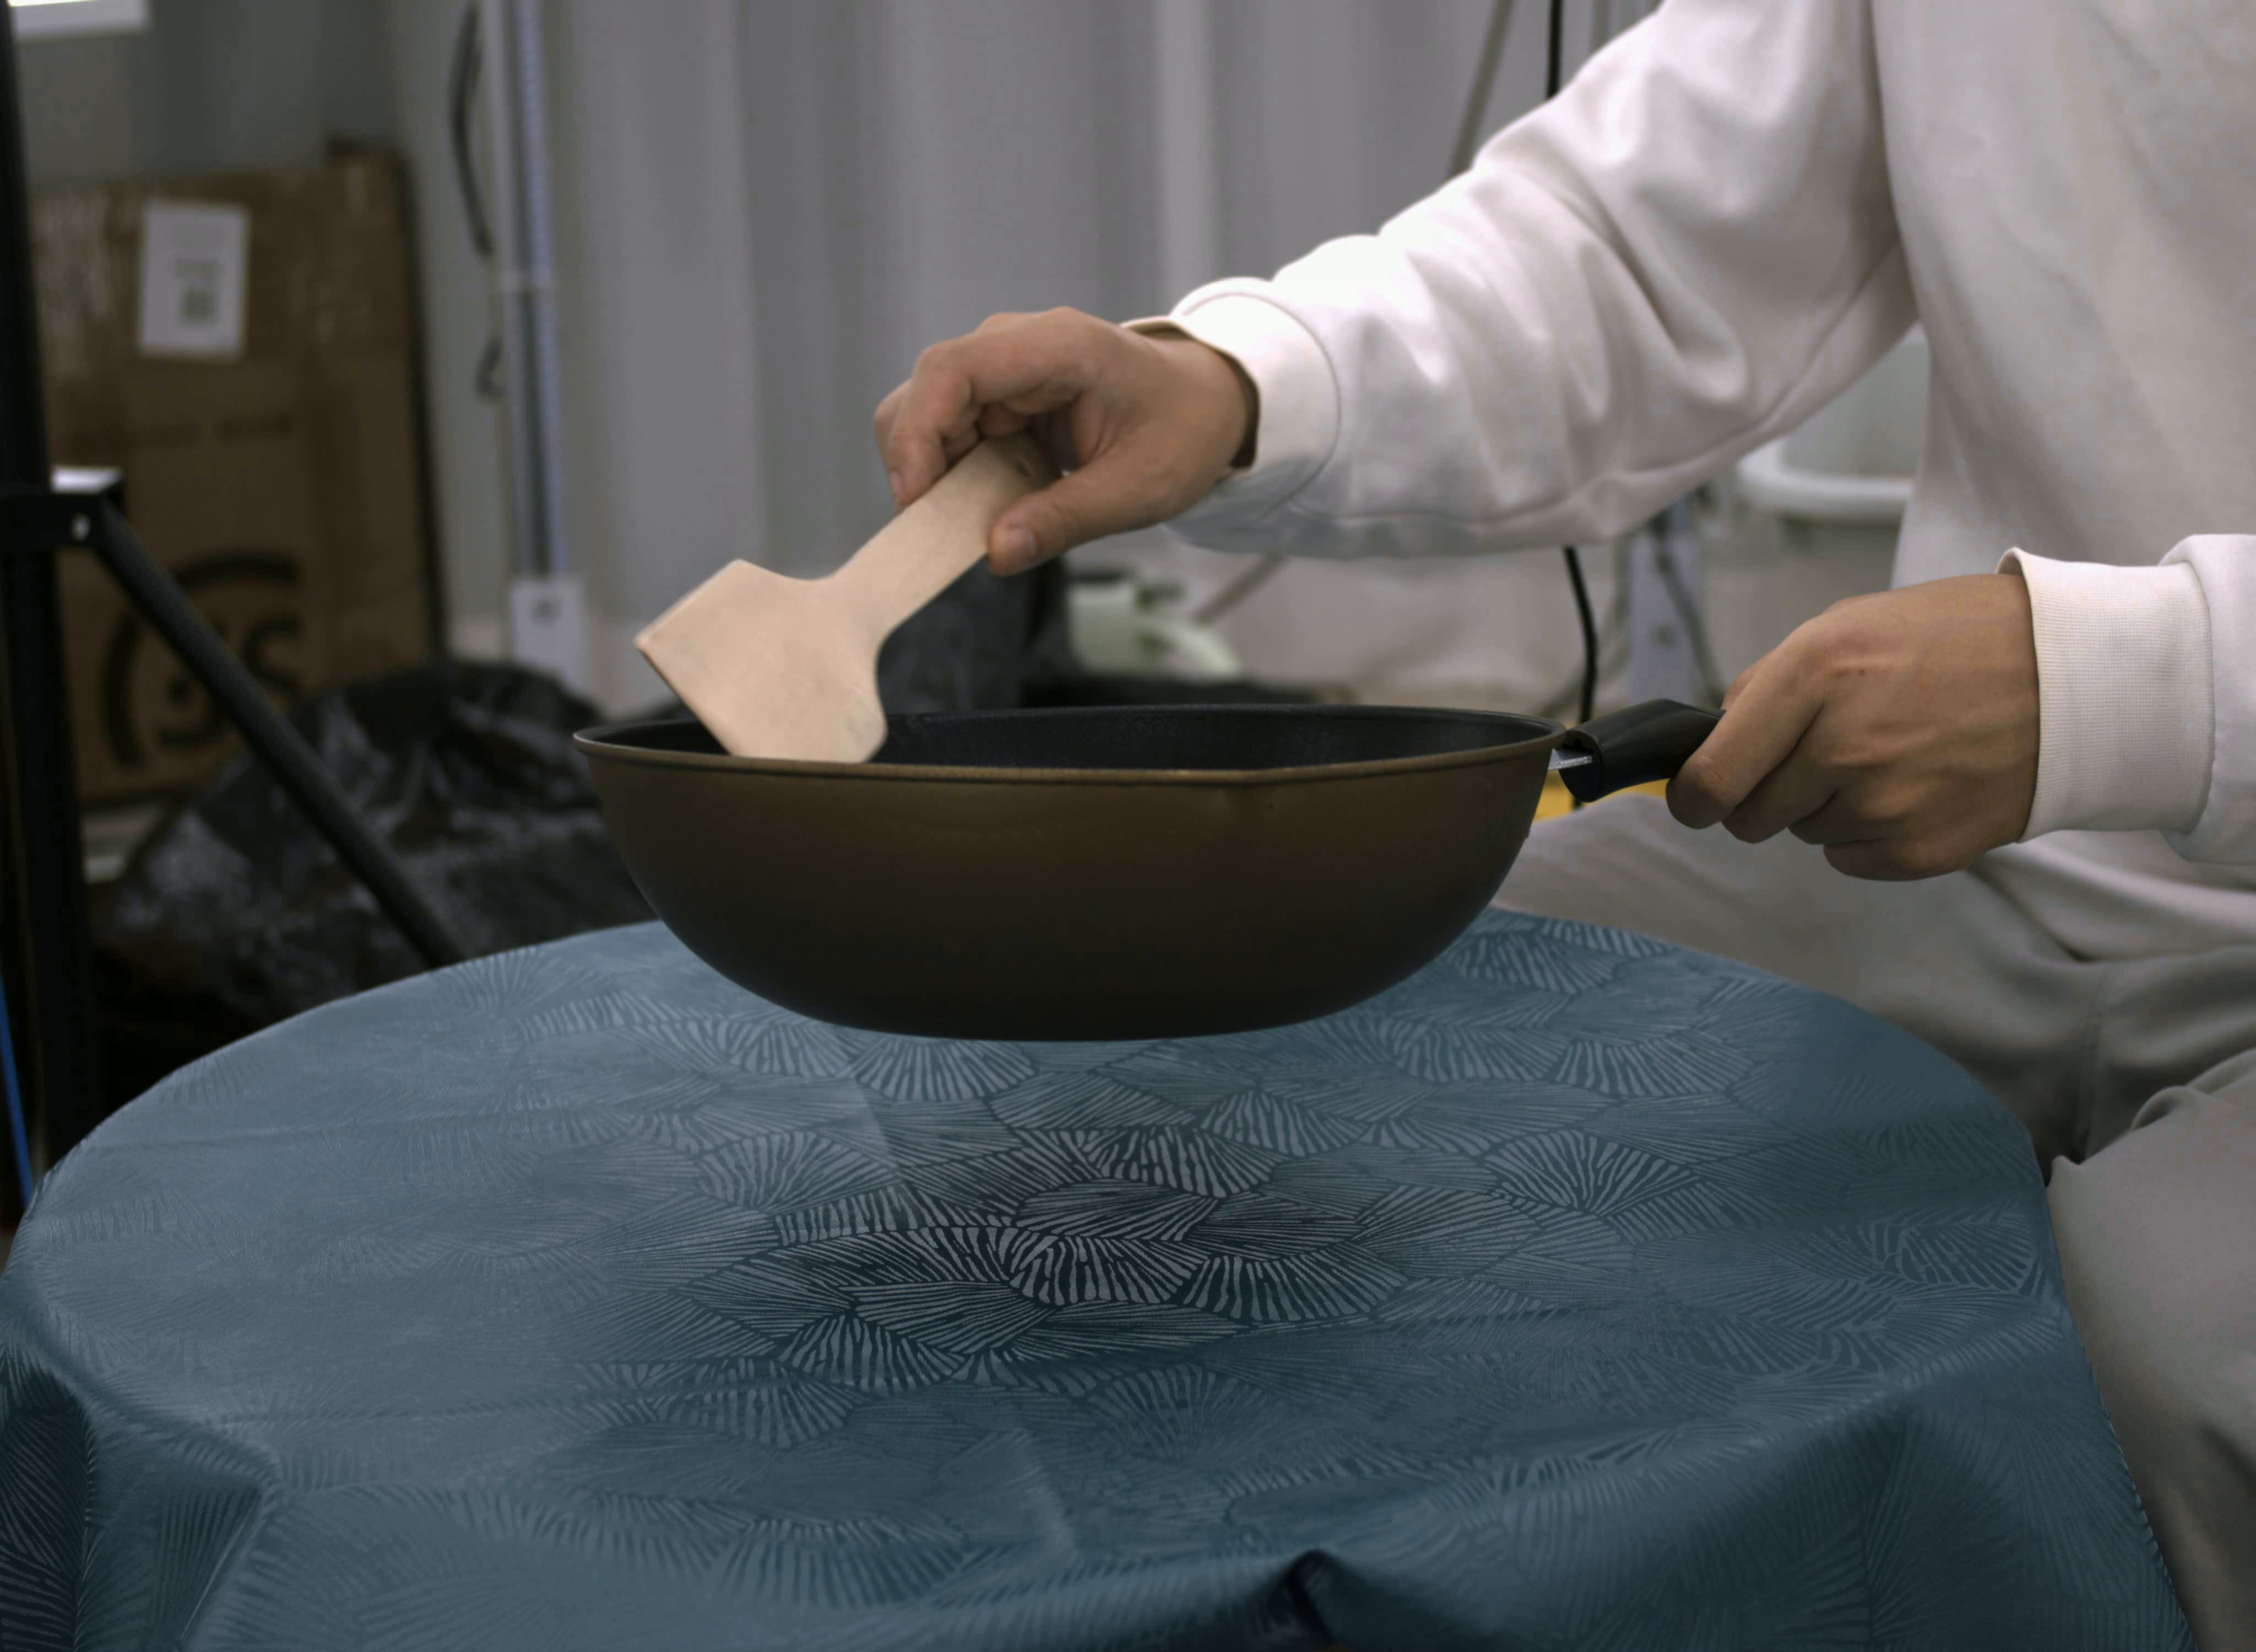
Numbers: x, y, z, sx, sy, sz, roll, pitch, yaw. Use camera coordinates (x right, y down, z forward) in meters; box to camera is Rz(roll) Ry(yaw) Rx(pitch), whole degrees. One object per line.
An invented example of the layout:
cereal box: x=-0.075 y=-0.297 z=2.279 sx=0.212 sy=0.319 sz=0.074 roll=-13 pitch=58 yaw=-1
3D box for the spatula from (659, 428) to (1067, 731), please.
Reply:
spatula: x=-0.071 y=-0.073 z=1.623 sx=0.011 sy=0.072 sz=0.290 roll=-39 pitch=5 yaw=26

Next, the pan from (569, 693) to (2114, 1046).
pan: x=0.069 y=0.009 z=1.516 sx=0.455 sy=0.087 sz=0.292 roll=-1 pitch=5 yaw=-17
